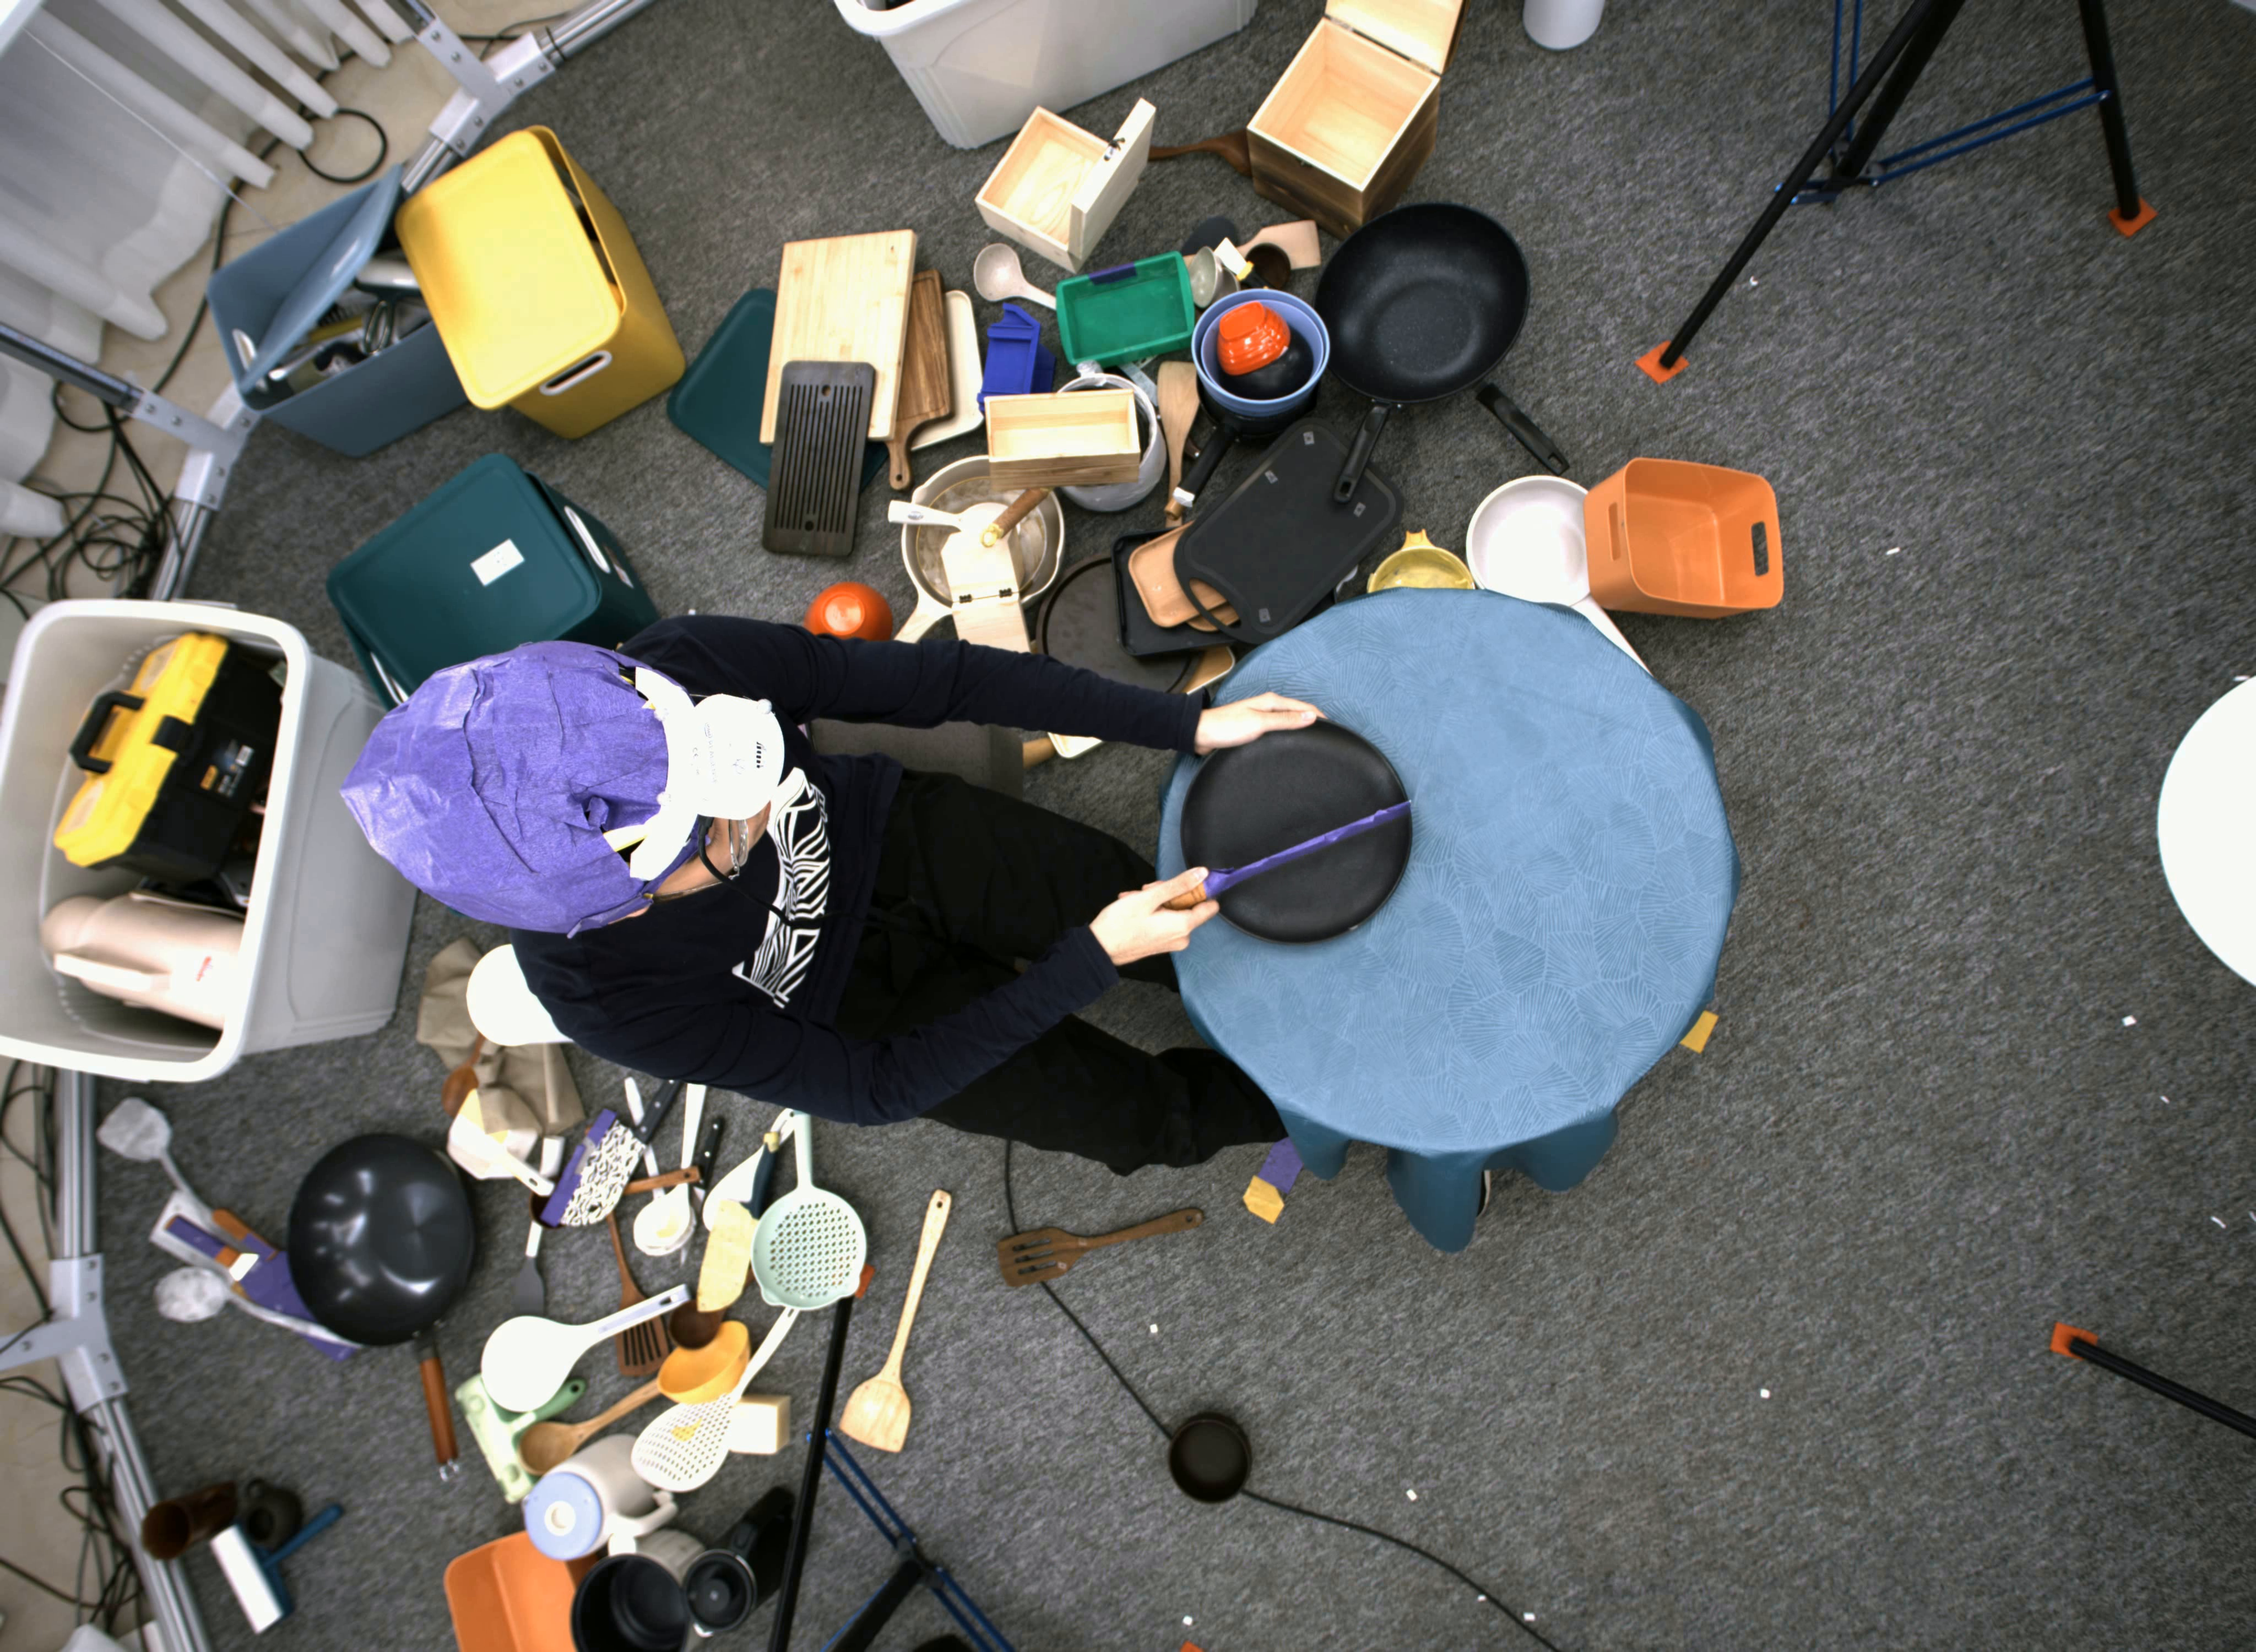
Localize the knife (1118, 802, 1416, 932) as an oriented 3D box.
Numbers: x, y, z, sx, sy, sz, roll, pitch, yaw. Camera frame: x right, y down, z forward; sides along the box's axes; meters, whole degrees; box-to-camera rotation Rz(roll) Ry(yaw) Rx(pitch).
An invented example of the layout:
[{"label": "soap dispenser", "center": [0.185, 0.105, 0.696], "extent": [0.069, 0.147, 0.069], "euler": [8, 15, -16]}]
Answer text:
[{"label": "knife", "center": [0.145, 0.043, 1.410], "extent": [0.317, 0.104, 0.032], "euler": [-21, 79, 7]}]

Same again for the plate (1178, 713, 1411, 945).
[{"label": "plate", "center": [0.175, 0.003, 1.459], "extent": [0.245, 0.023, 0.244], "euler": [0, 93, 6]}]
